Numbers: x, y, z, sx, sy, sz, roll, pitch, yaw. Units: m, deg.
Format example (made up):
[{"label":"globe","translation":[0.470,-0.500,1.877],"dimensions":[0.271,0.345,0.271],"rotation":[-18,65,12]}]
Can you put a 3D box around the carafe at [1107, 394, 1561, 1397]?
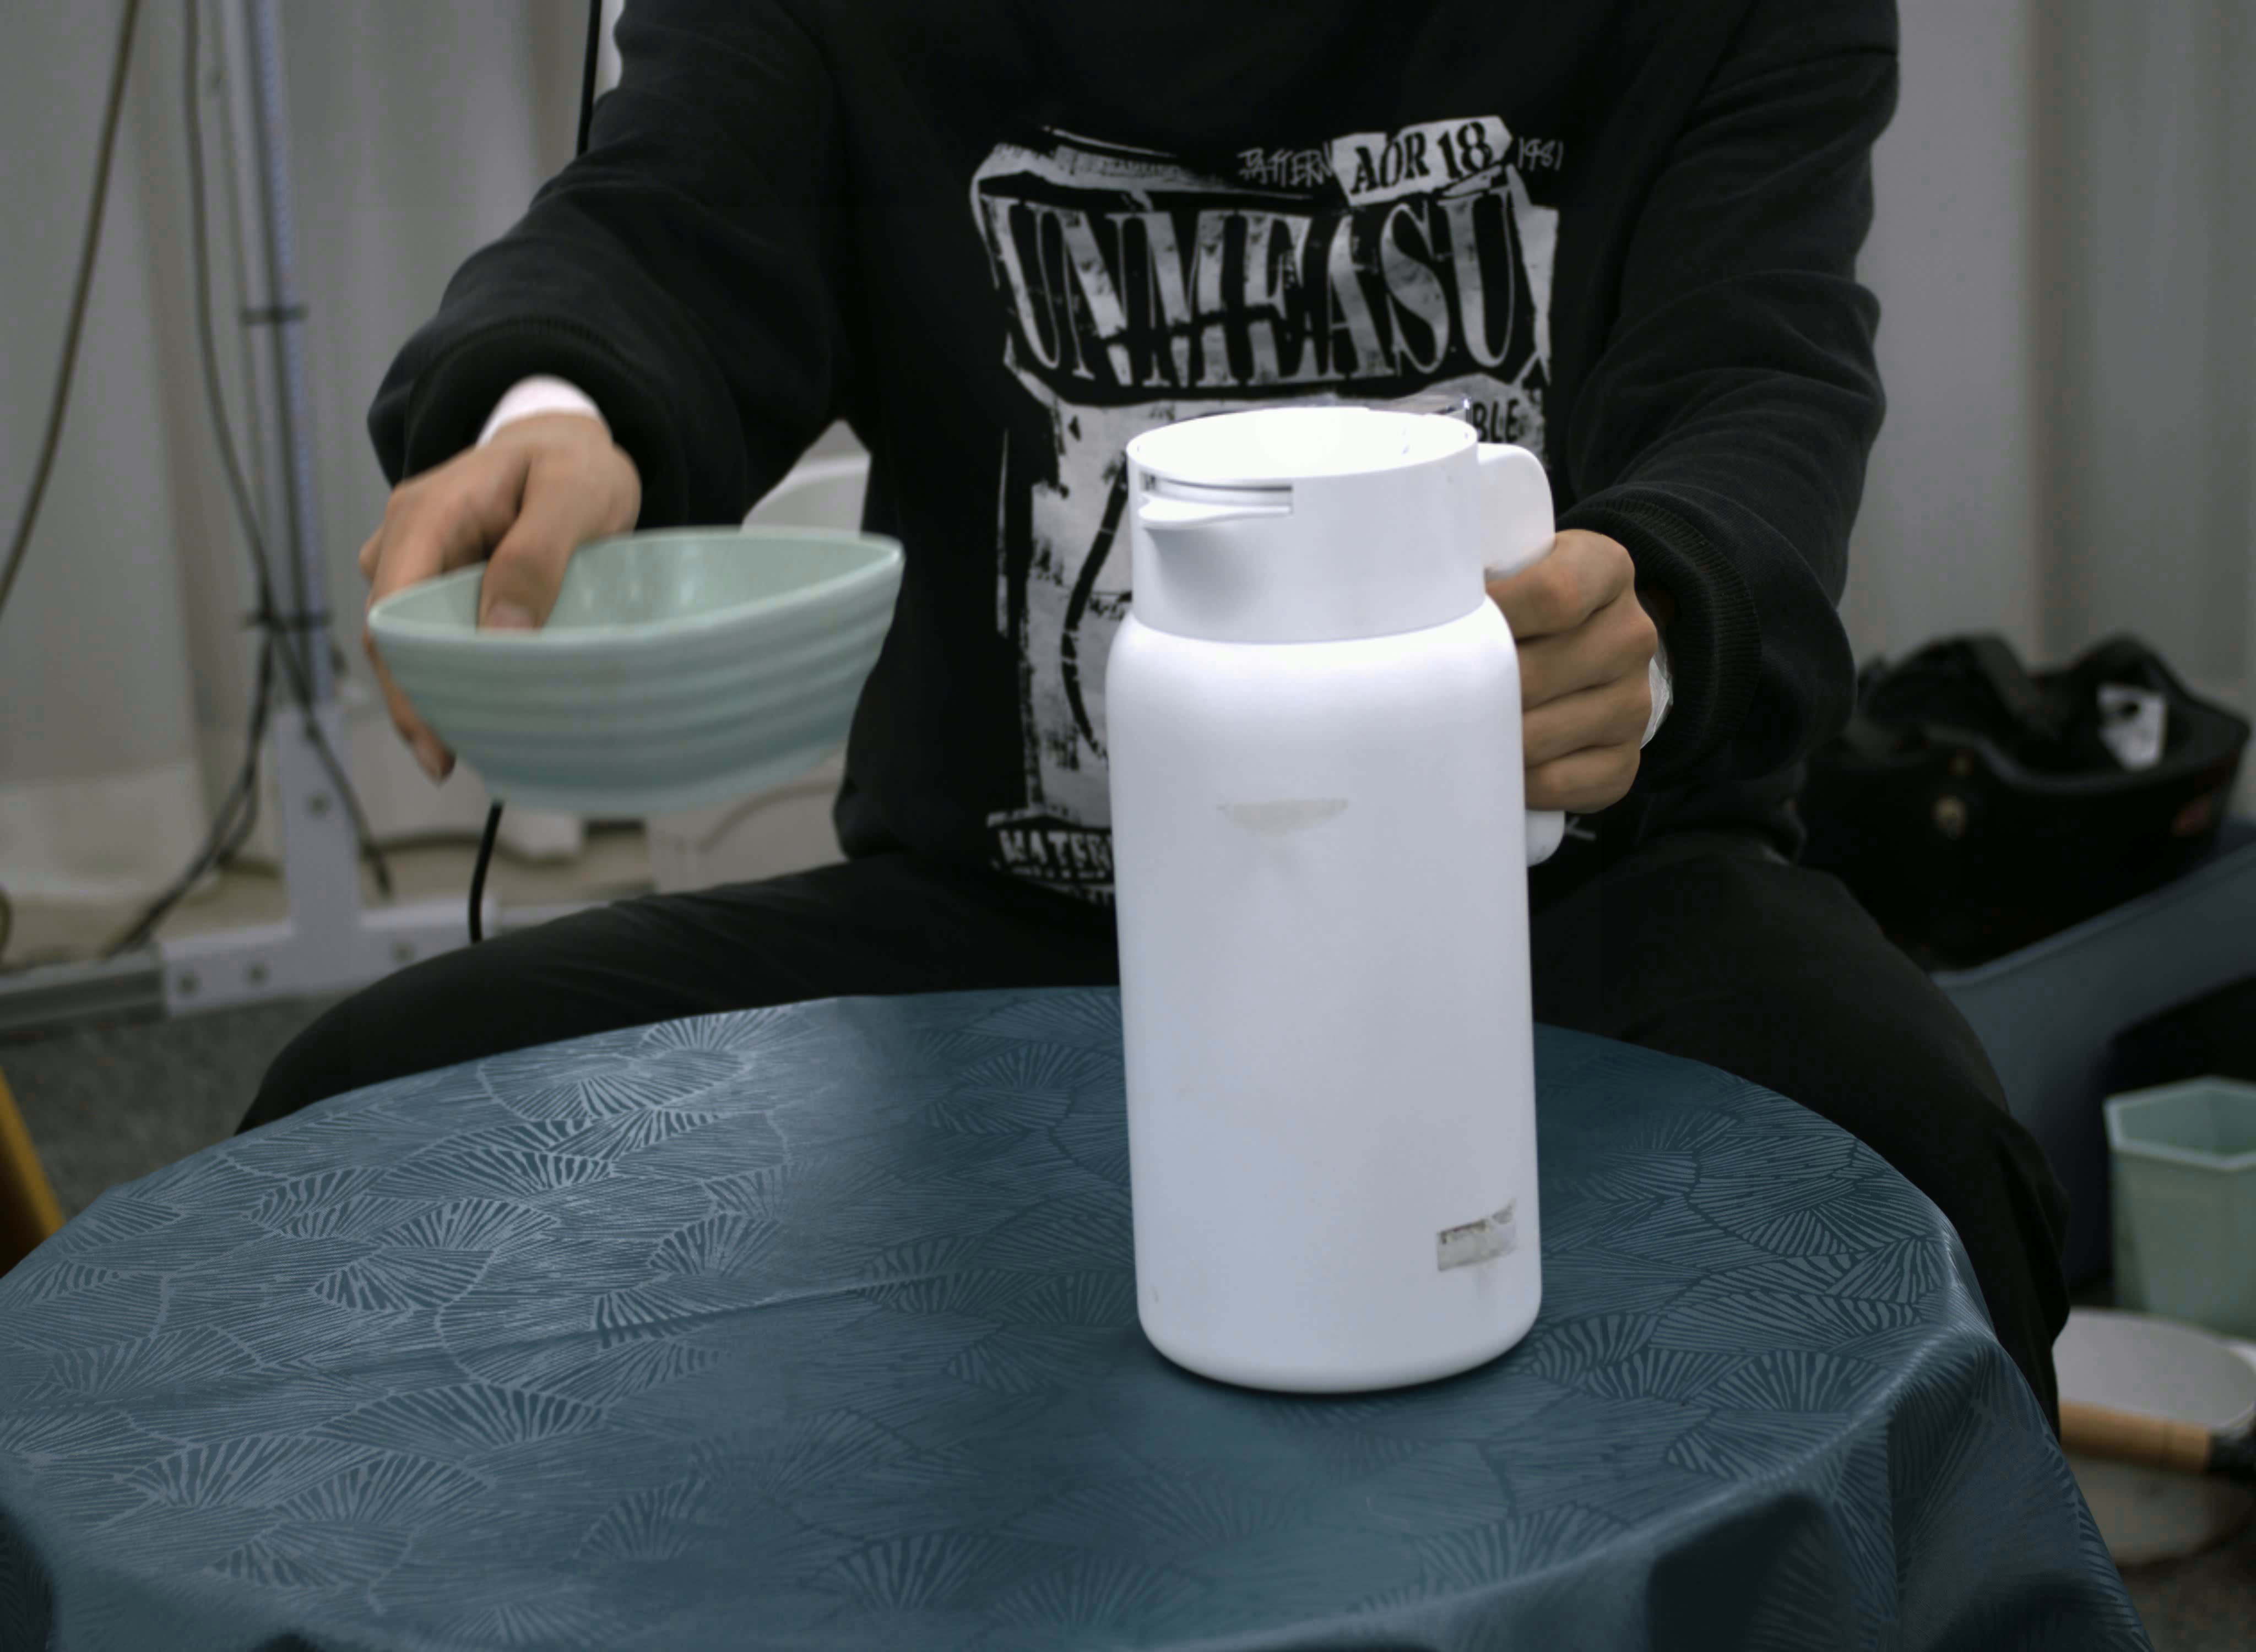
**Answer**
[{"label":"carafe","translation":[0.065,0.015,1.562],"dimensions":[0.124,0.268,0.173],"rotation":[5,16,37]}]

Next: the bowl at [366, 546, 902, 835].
[{"label":"bowl","translation":[-0.136,-0.036,1.542],"dimensions":[0.151,0.058,0.152],"rotation":[-5,13,1]}]
